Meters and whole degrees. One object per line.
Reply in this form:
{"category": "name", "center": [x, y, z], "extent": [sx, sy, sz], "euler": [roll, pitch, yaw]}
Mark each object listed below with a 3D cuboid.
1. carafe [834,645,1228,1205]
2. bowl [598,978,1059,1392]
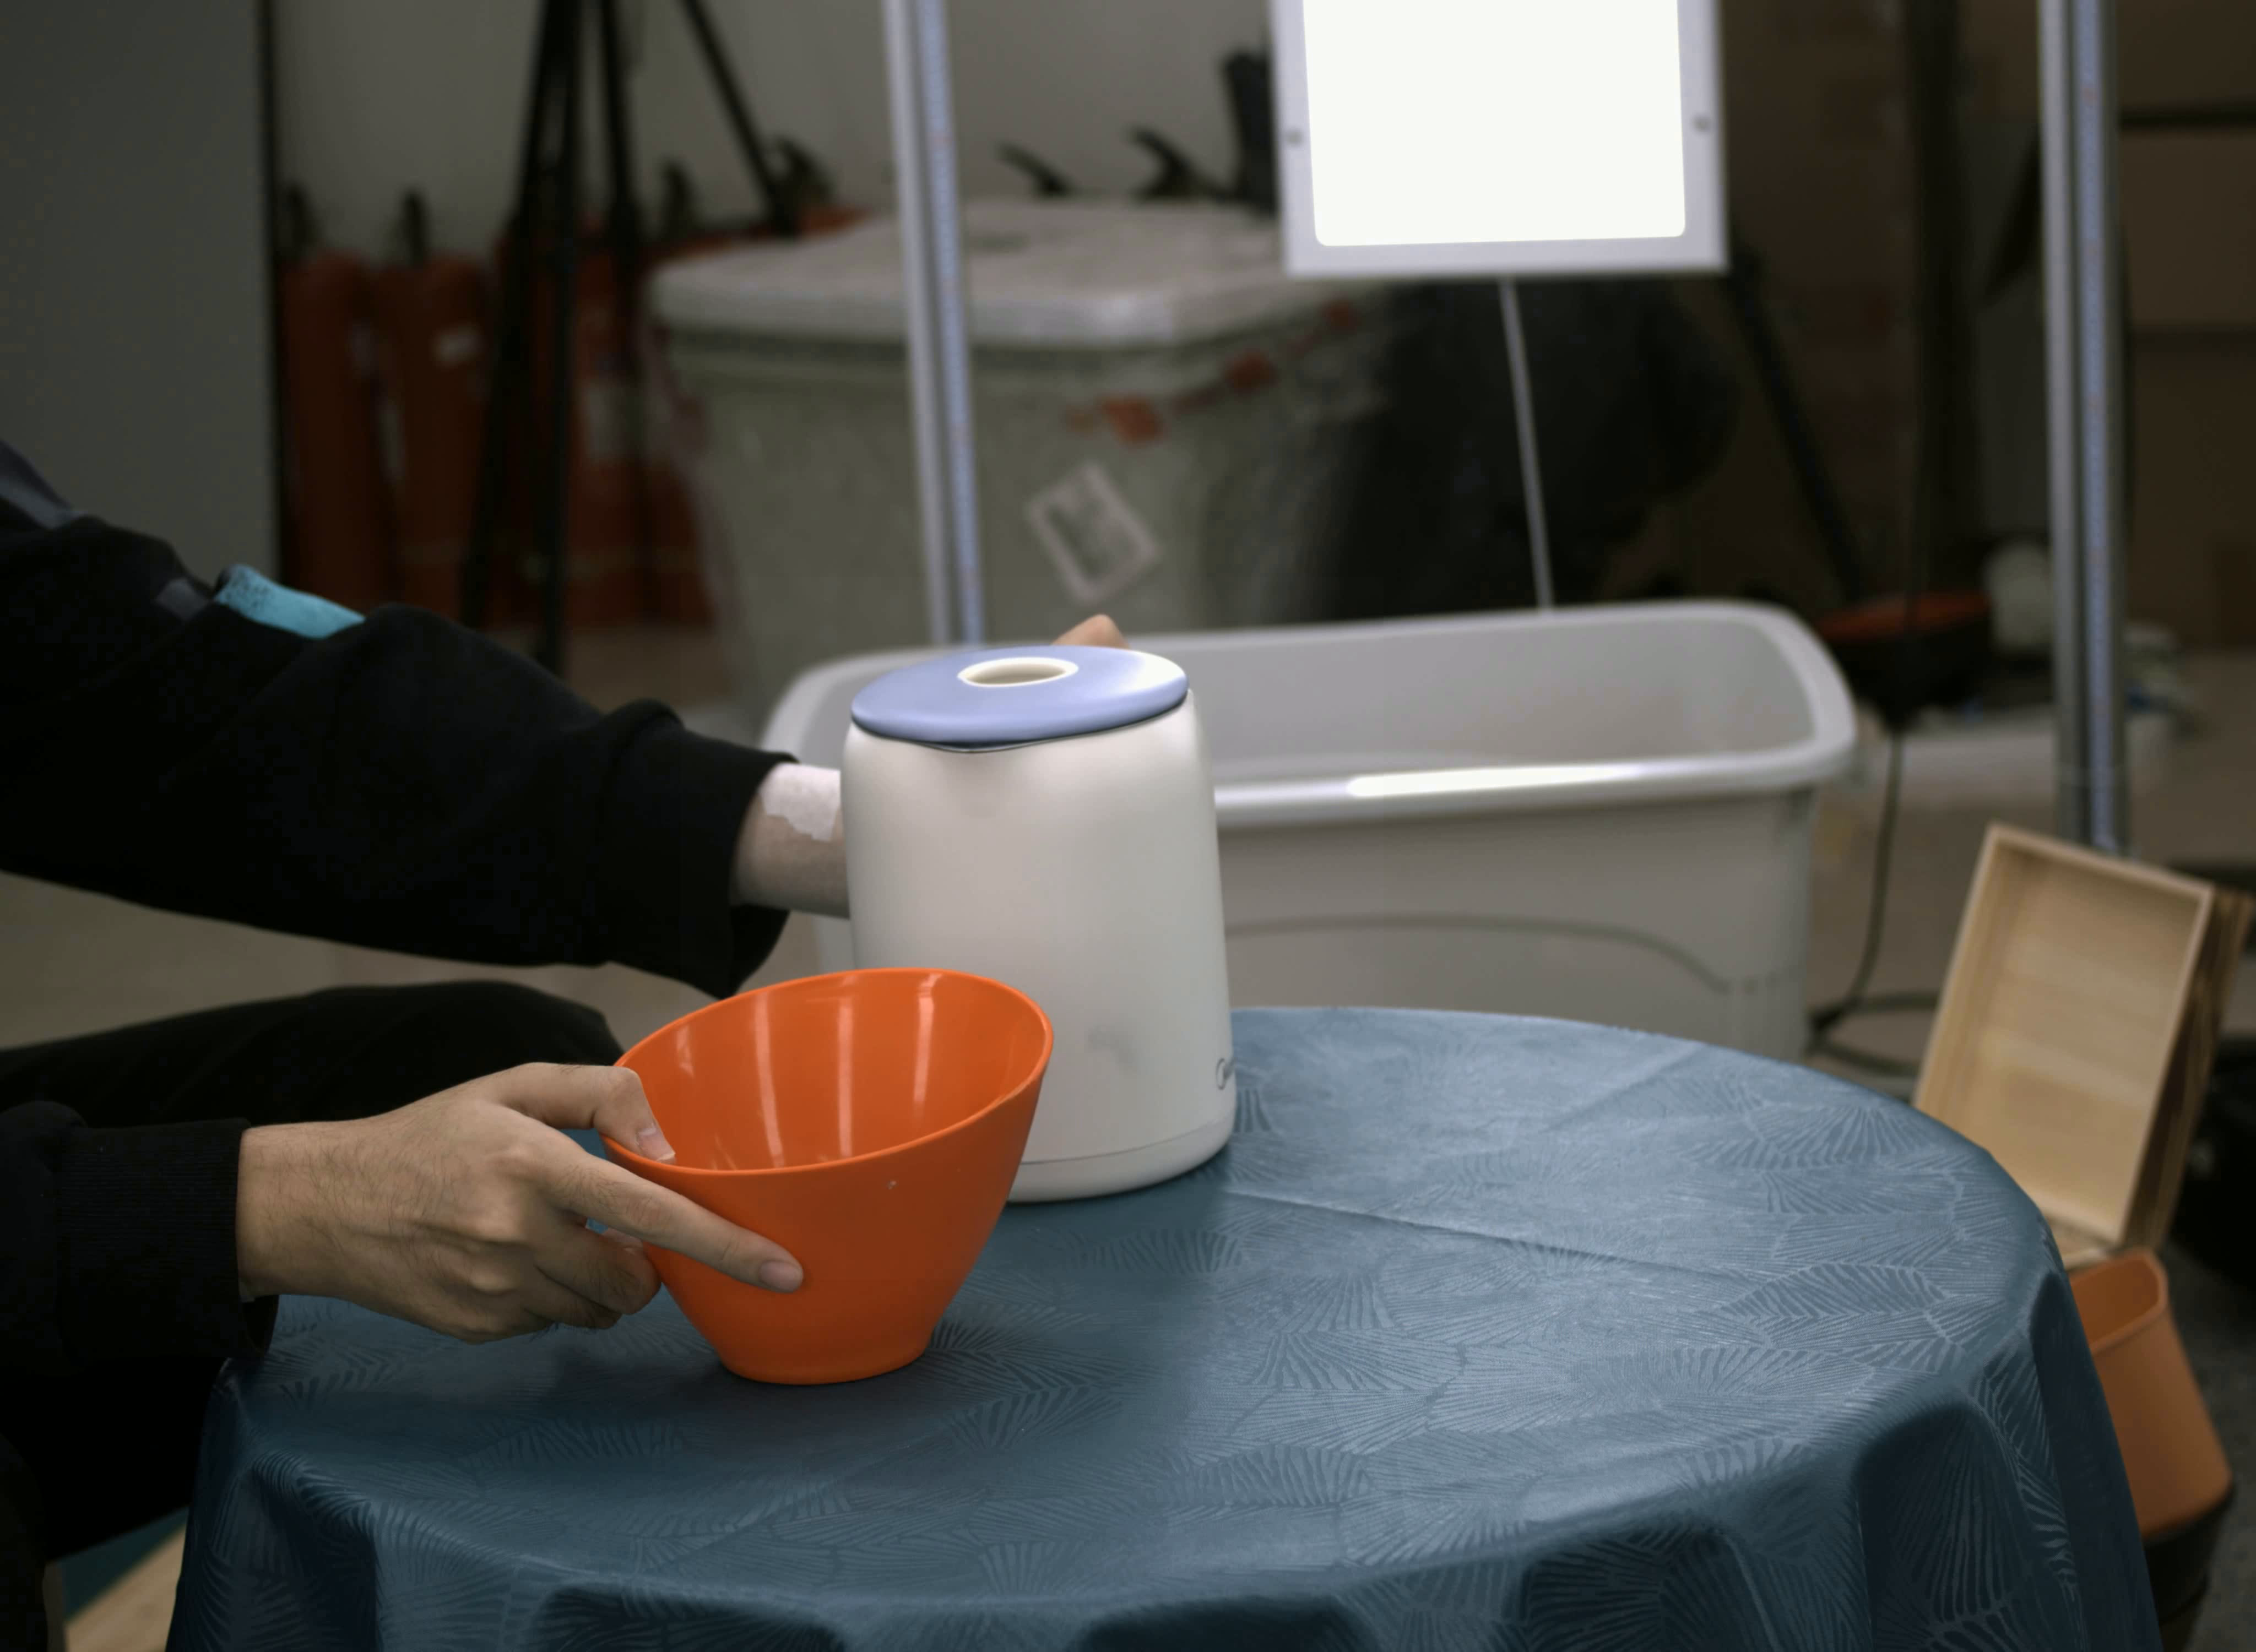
{"category": "carafe", "center": [-0.029, 0.028, 1.949], "extent": [0.133, 0.183, 0.189], "euler": [0, 12, 12]}
{"category": "bowl", "center": [-0.092, 0.117, 1.755], "extent": [0.147, 0.105, 0.148], "euler": [-4, 13, 0]}
